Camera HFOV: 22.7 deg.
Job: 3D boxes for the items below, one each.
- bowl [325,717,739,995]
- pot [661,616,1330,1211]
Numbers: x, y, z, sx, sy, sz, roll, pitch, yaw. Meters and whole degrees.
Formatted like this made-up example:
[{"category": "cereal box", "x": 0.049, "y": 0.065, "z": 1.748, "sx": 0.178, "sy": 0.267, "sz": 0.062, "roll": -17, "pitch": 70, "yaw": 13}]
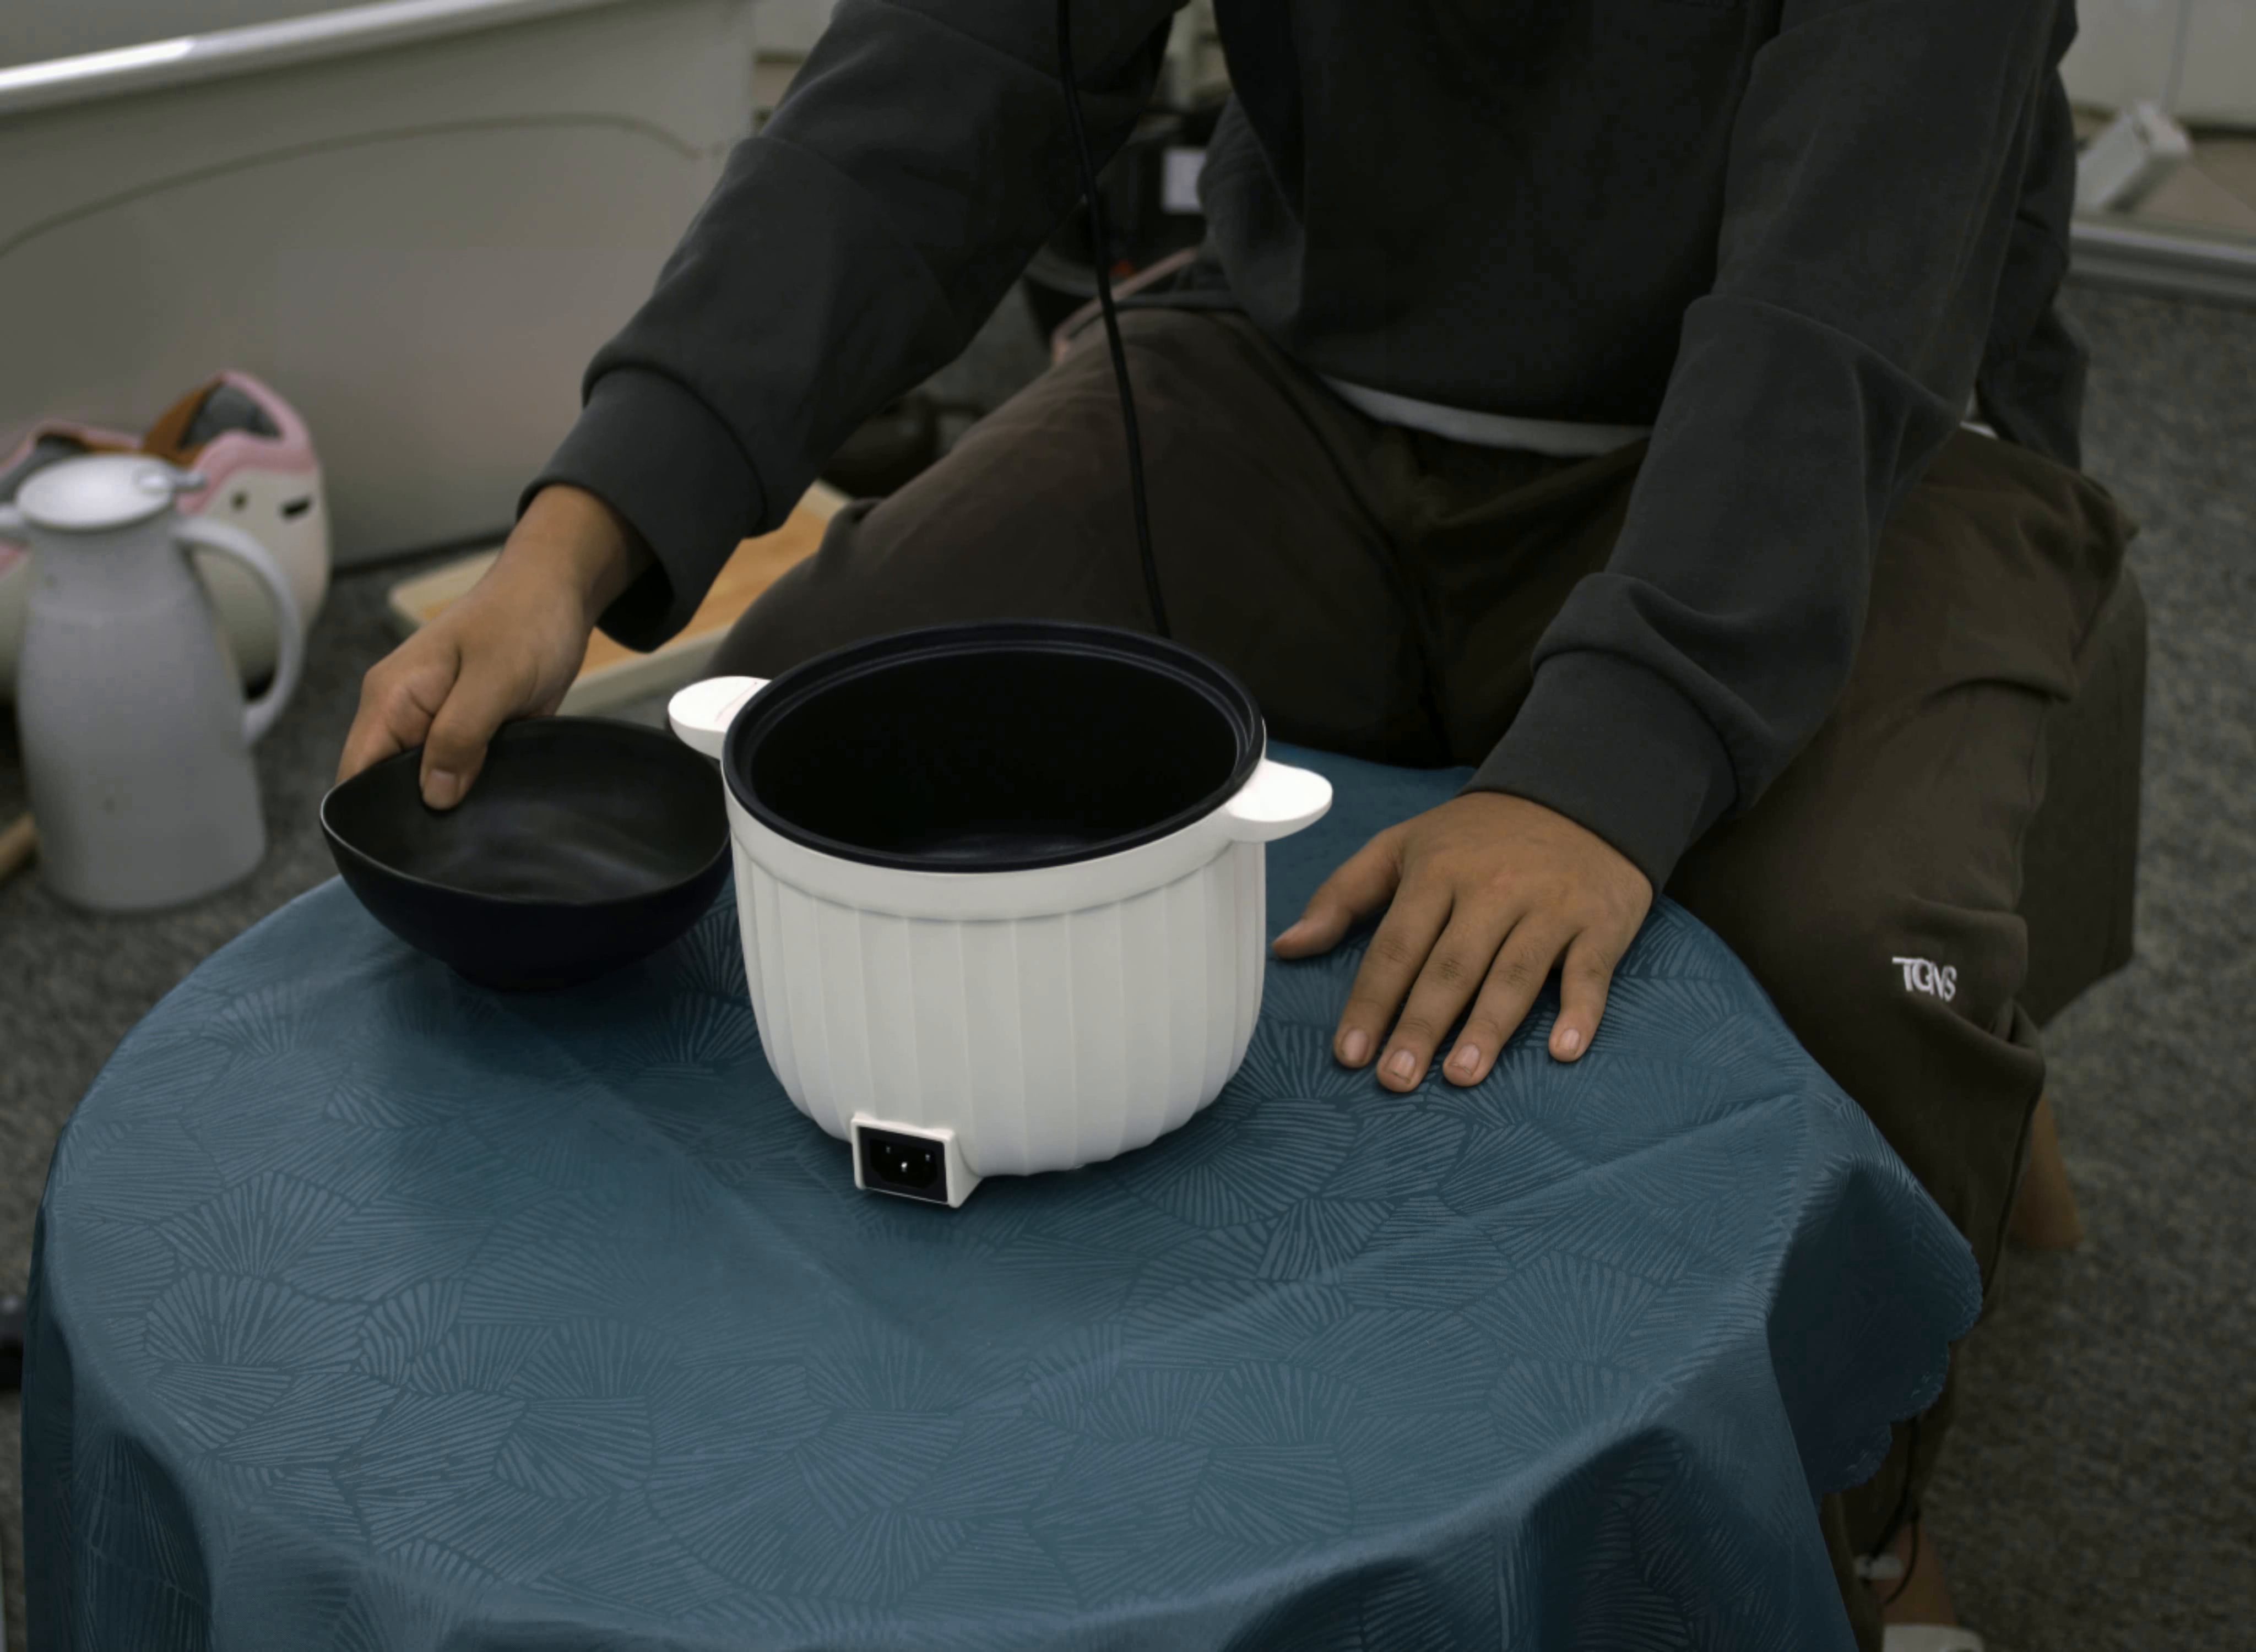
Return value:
[{"category": "bowl", "x": -0.213, "y": 0.018, "z": 2.014, "sx": 0.170, "sy": 0.066, "sz": 0.139, "roll": 20, "pitch": 34, "yaw": 39}, {"category": "pot", "x": -0.042, "y": 0.026, "z": 1.905, "sx": 0.239, "sy": 0.141, "sz": 0.194, "roll": 10, "pitch": 32, "yaw": 20}]
